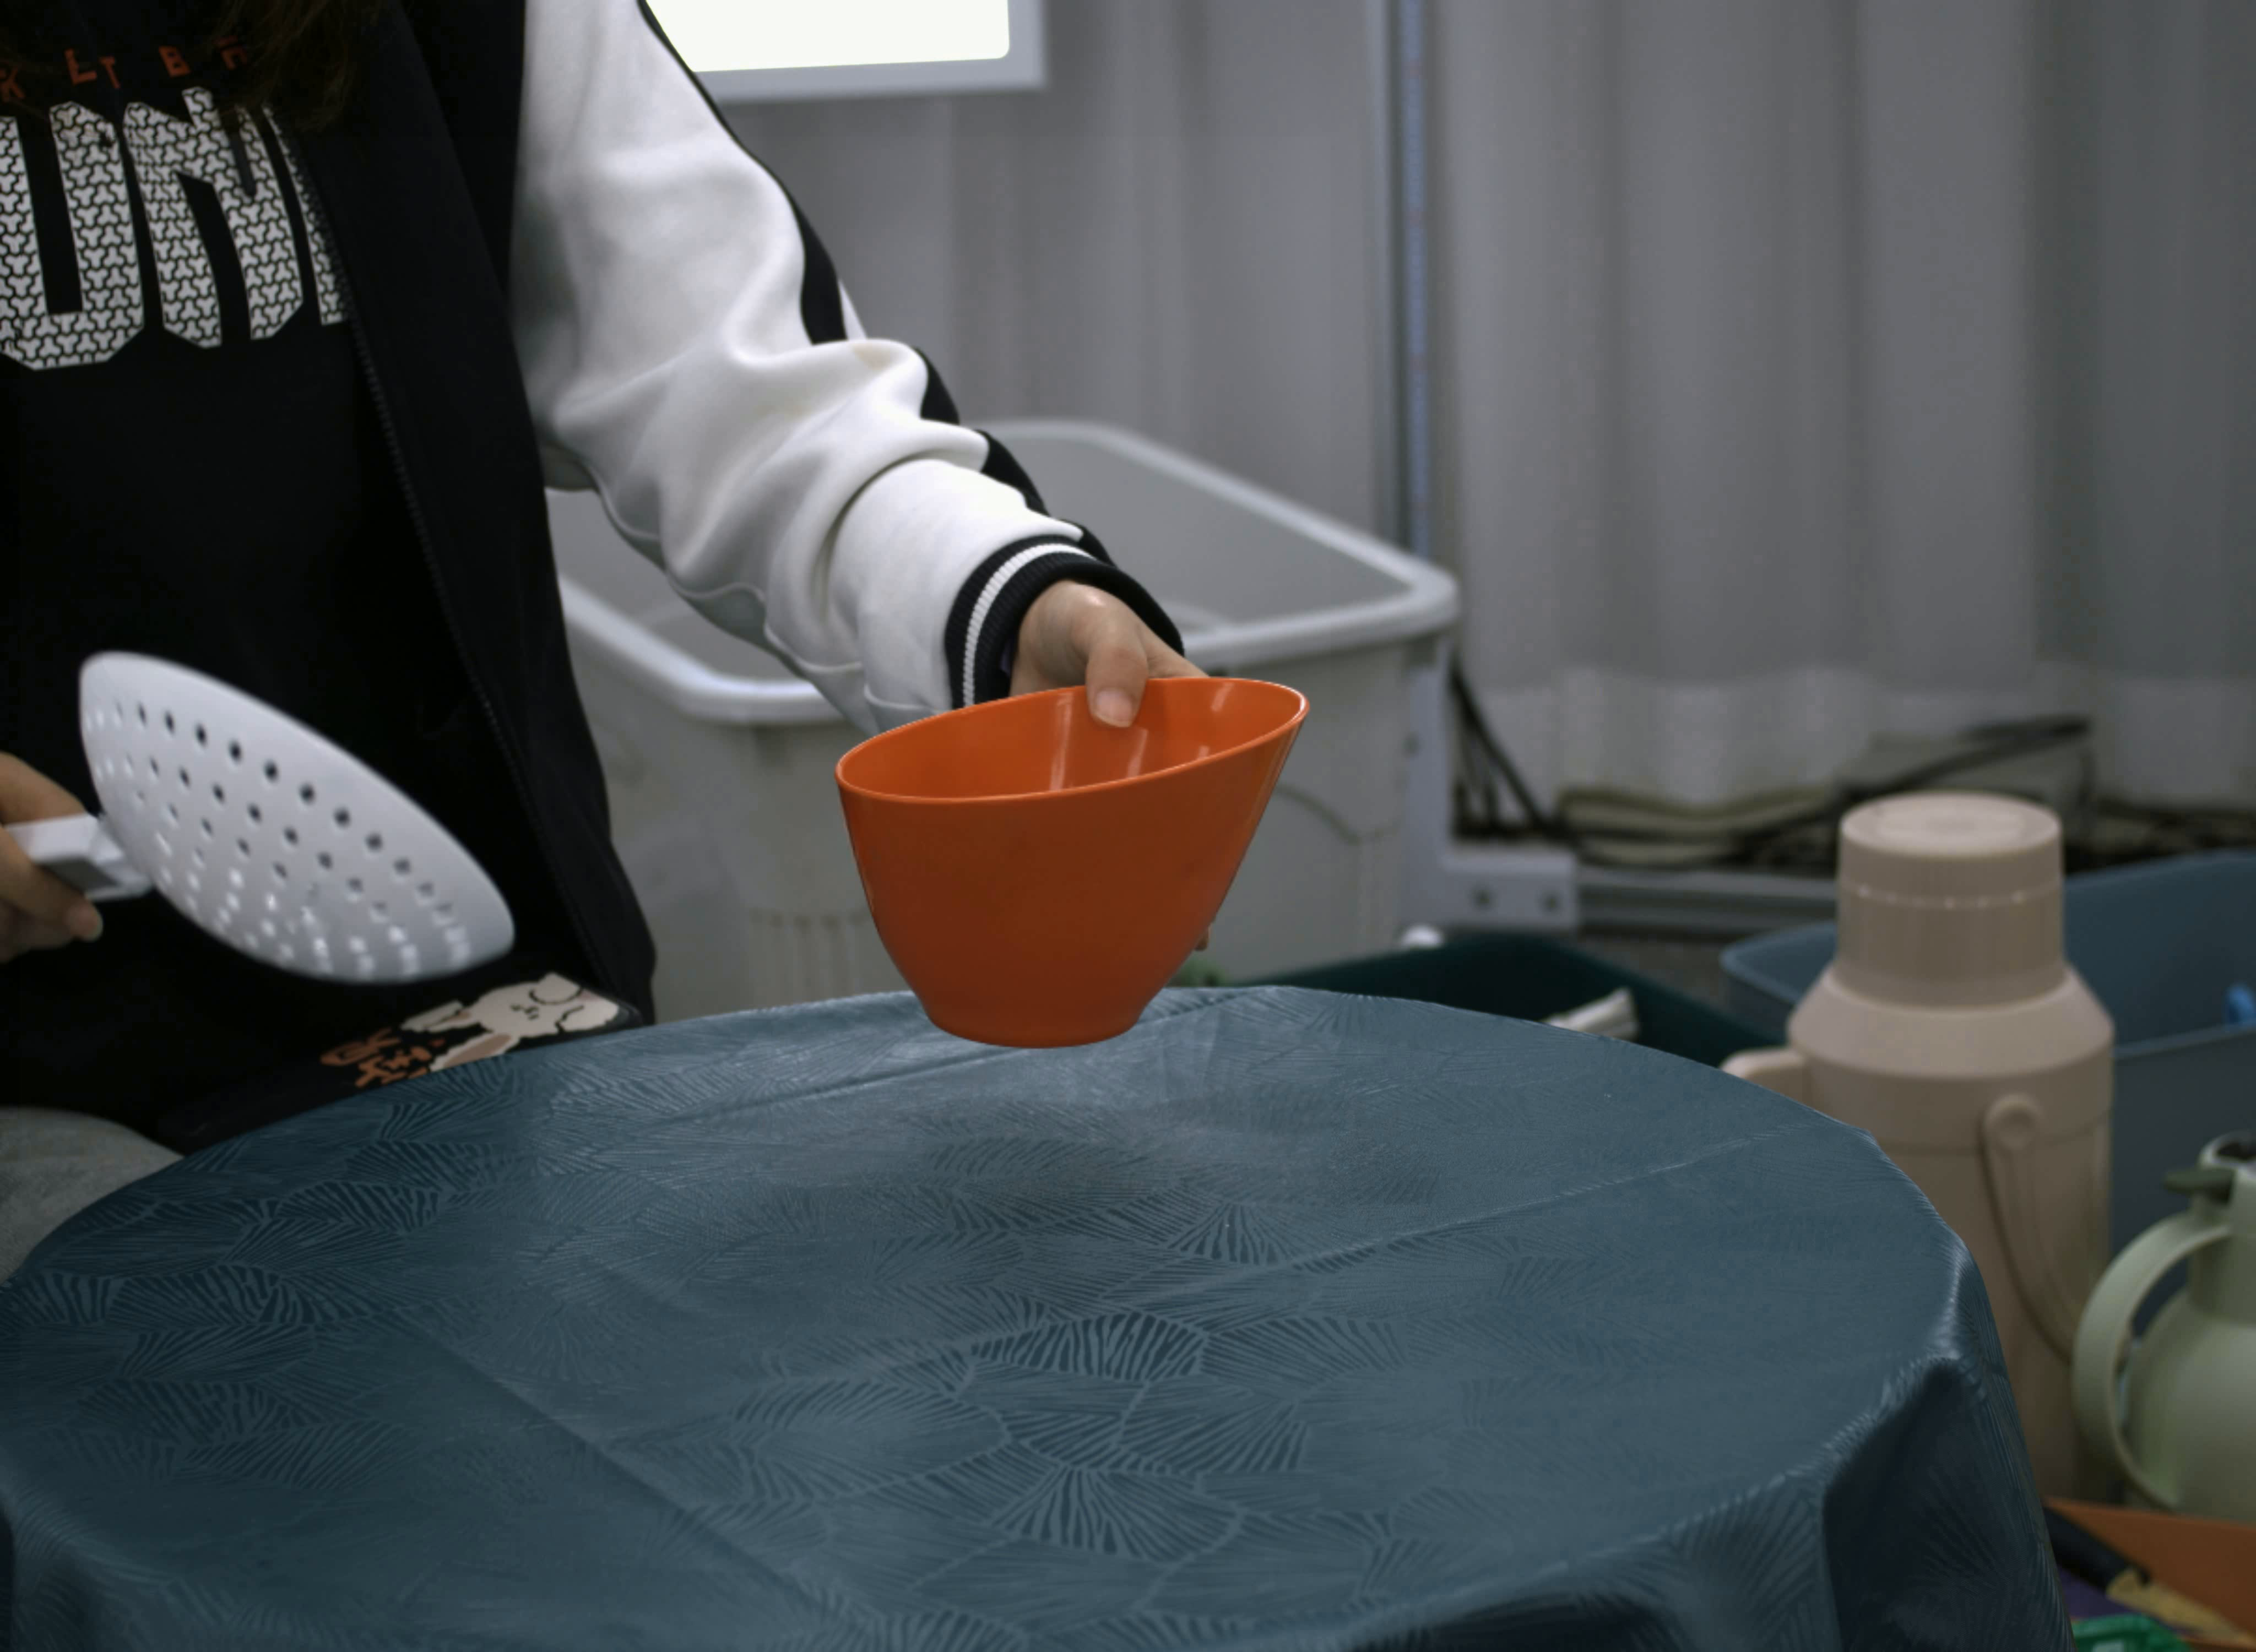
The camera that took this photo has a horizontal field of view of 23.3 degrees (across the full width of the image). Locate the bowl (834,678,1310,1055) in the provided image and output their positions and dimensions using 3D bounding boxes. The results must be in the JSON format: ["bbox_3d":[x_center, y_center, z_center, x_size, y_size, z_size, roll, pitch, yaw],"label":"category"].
[{"bbox_3d":[-0.018,0.013,1.696,0.147,0.104,0.149,0,16,0],"label":"bowl"}]

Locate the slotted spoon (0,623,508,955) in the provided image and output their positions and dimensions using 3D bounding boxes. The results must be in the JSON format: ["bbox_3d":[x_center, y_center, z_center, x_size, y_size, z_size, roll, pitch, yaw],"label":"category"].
[{"bbox_3d":[-0.282,0.002,1.568,0.046,0.135,0.350,-56,22,-16],"label":"slotted spoon"}]
